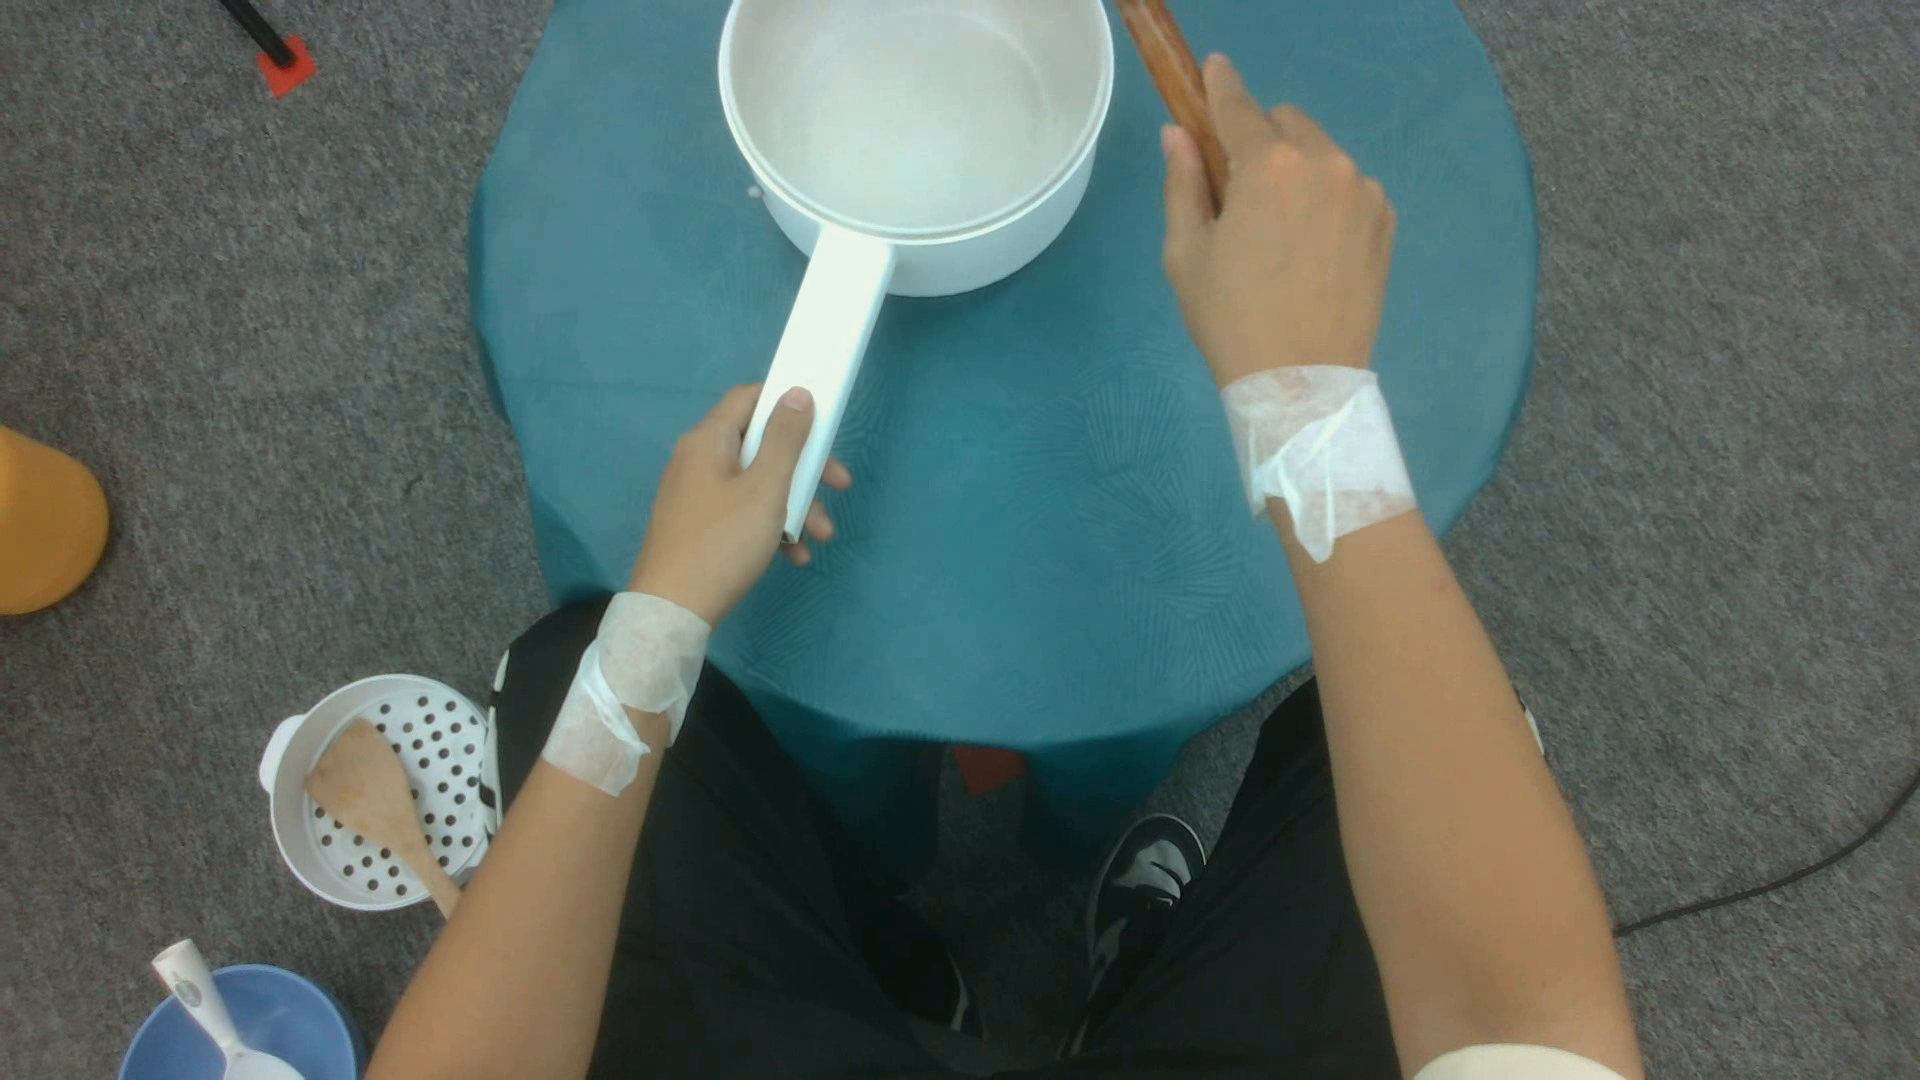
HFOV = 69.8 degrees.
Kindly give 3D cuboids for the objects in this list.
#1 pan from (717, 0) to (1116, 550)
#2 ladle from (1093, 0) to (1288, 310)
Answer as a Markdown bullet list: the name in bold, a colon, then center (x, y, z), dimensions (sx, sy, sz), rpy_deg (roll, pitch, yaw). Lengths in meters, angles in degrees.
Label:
- **pan**: center (-0.042, -0.157, 0.746), dimensions (0.201, 0.102, 0.355), rpy_deg (17, 77, 5)
- **ladle**: center (0.066, -0.221, 0.610), dimensions (0.077, 0.081, 0.275), rpy_deg (1, 59, -35)
